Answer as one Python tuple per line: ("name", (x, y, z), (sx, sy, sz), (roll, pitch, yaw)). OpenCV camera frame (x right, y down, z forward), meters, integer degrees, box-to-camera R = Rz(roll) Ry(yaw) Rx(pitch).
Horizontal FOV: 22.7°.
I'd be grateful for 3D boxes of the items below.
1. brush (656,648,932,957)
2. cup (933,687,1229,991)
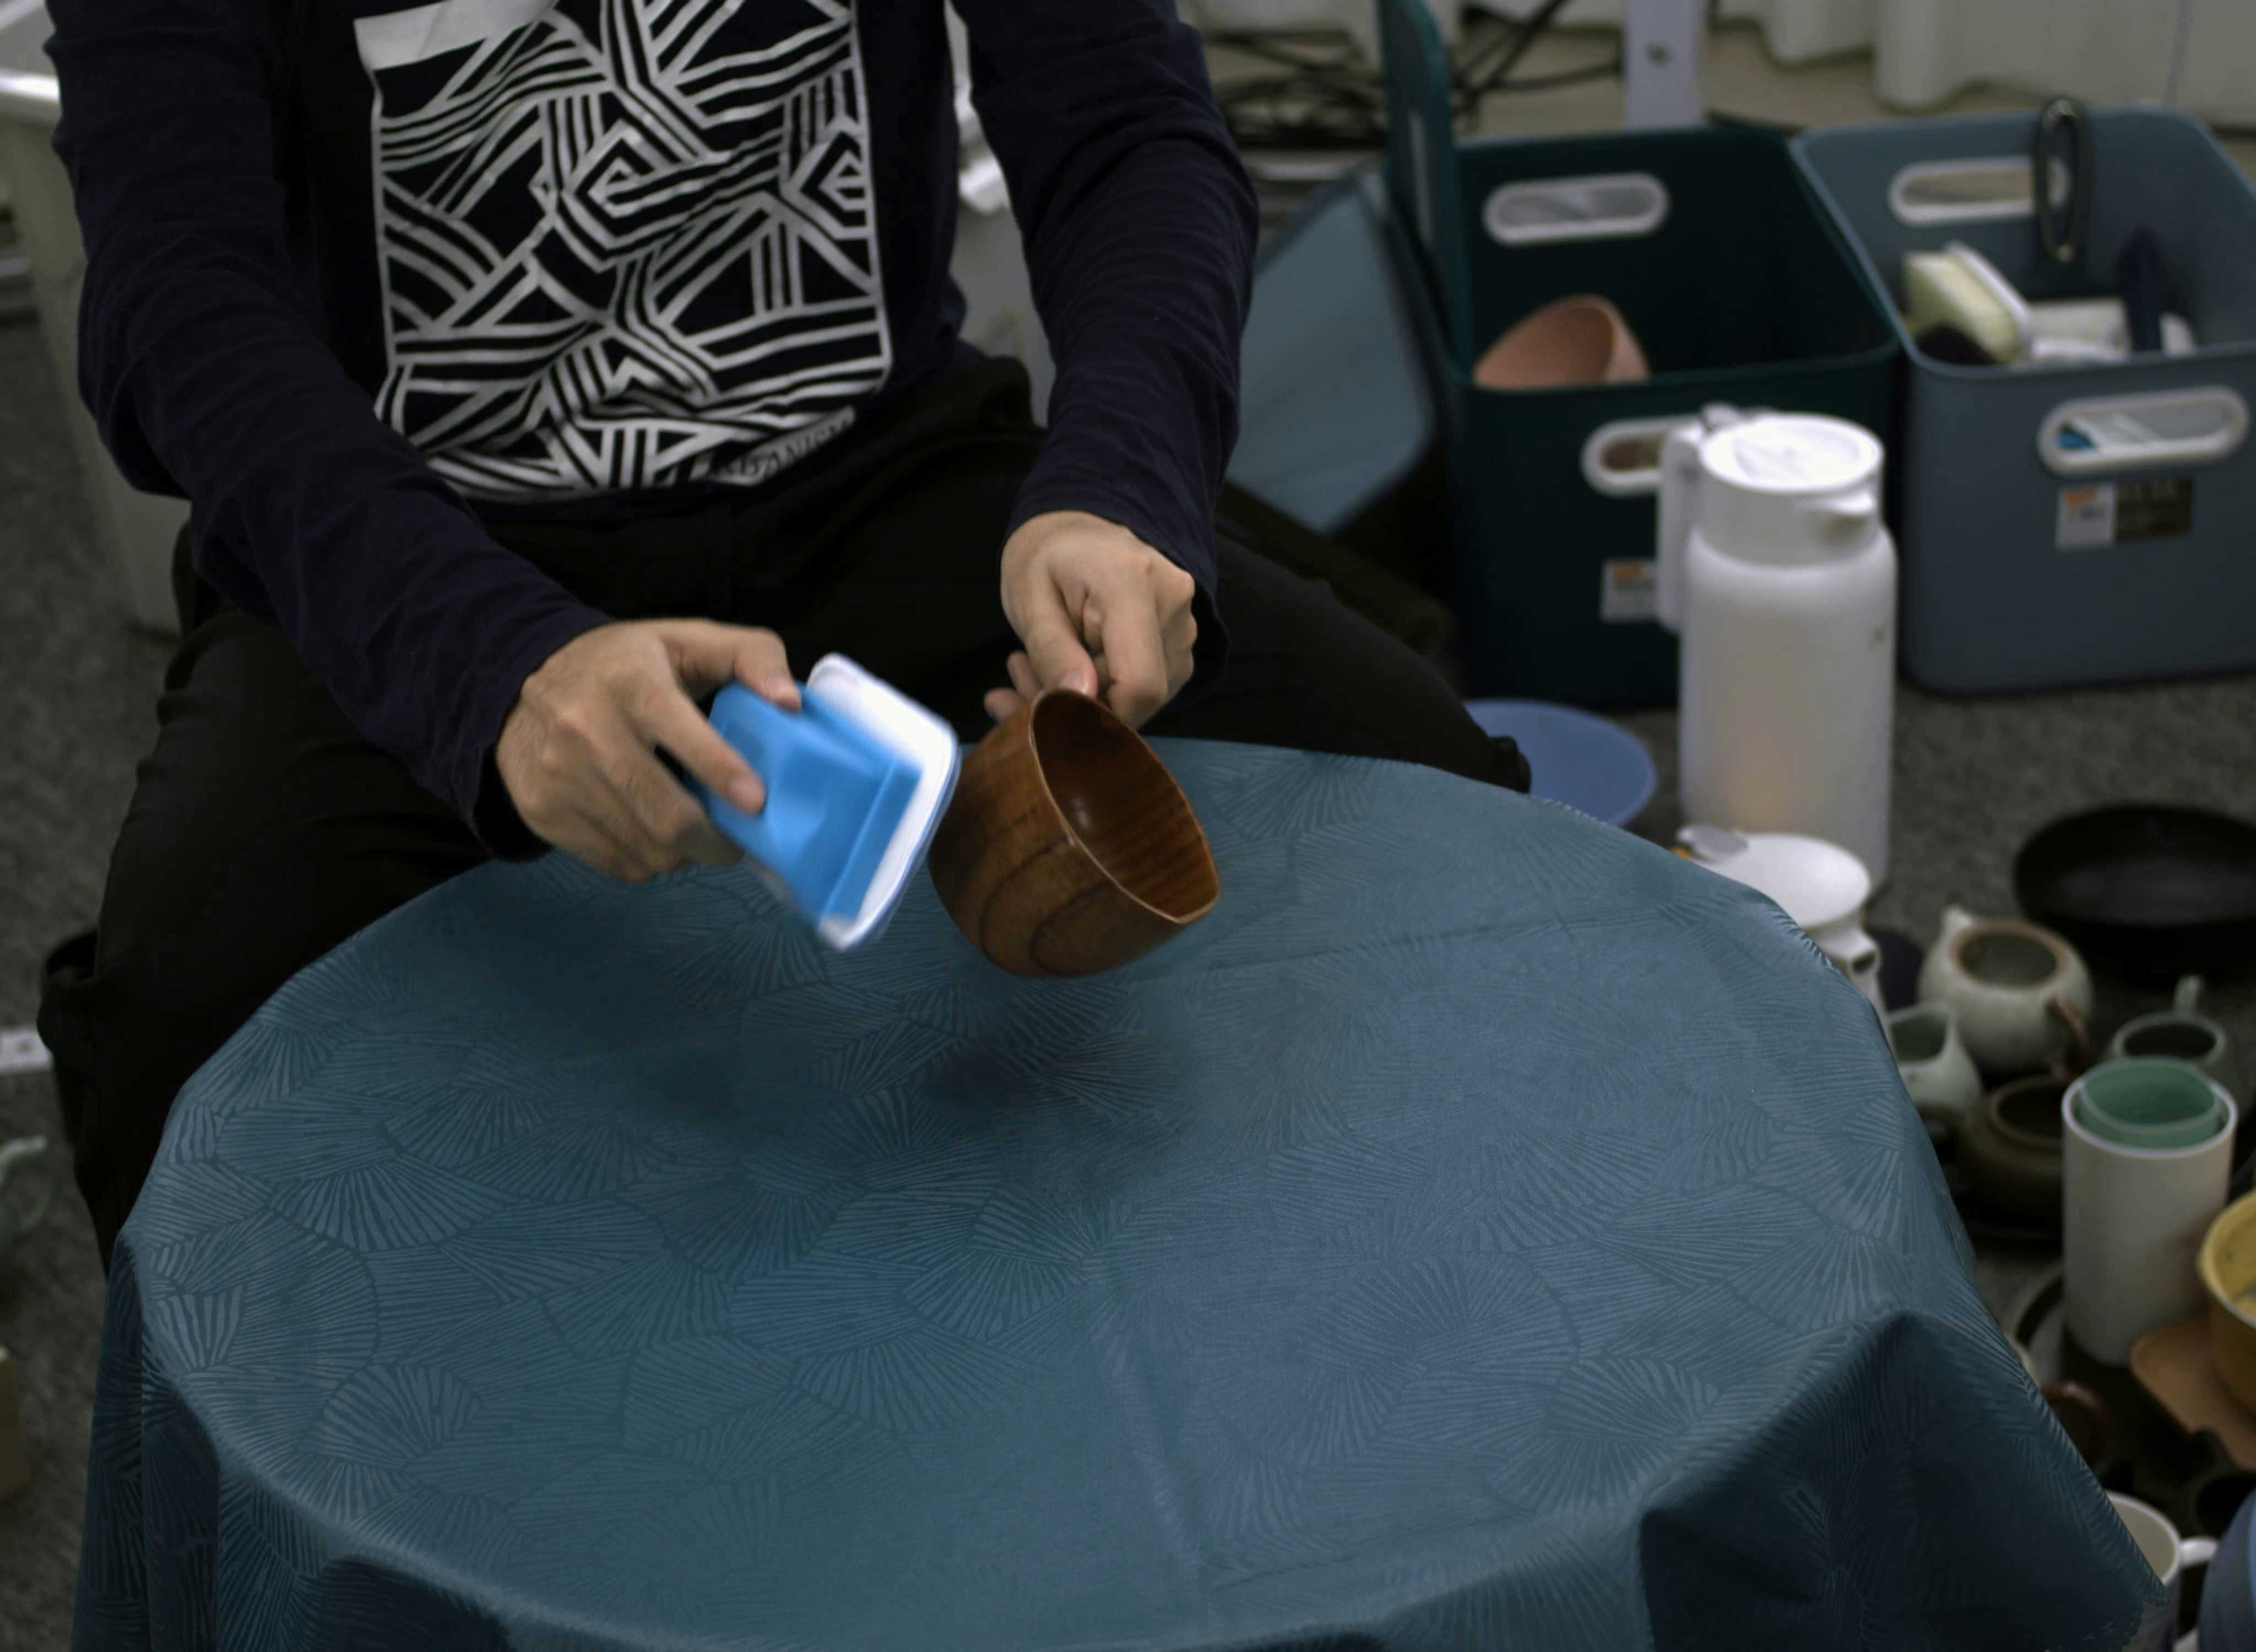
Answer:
("brush", (-0.119, -0.014, 1.888), (0.055, 0.084, 0.144), (29, 5, -29))
("cup", (-0.023, 0.004, 1.914), (0.095, 0.067, 0.121), (32, 29, -32))
